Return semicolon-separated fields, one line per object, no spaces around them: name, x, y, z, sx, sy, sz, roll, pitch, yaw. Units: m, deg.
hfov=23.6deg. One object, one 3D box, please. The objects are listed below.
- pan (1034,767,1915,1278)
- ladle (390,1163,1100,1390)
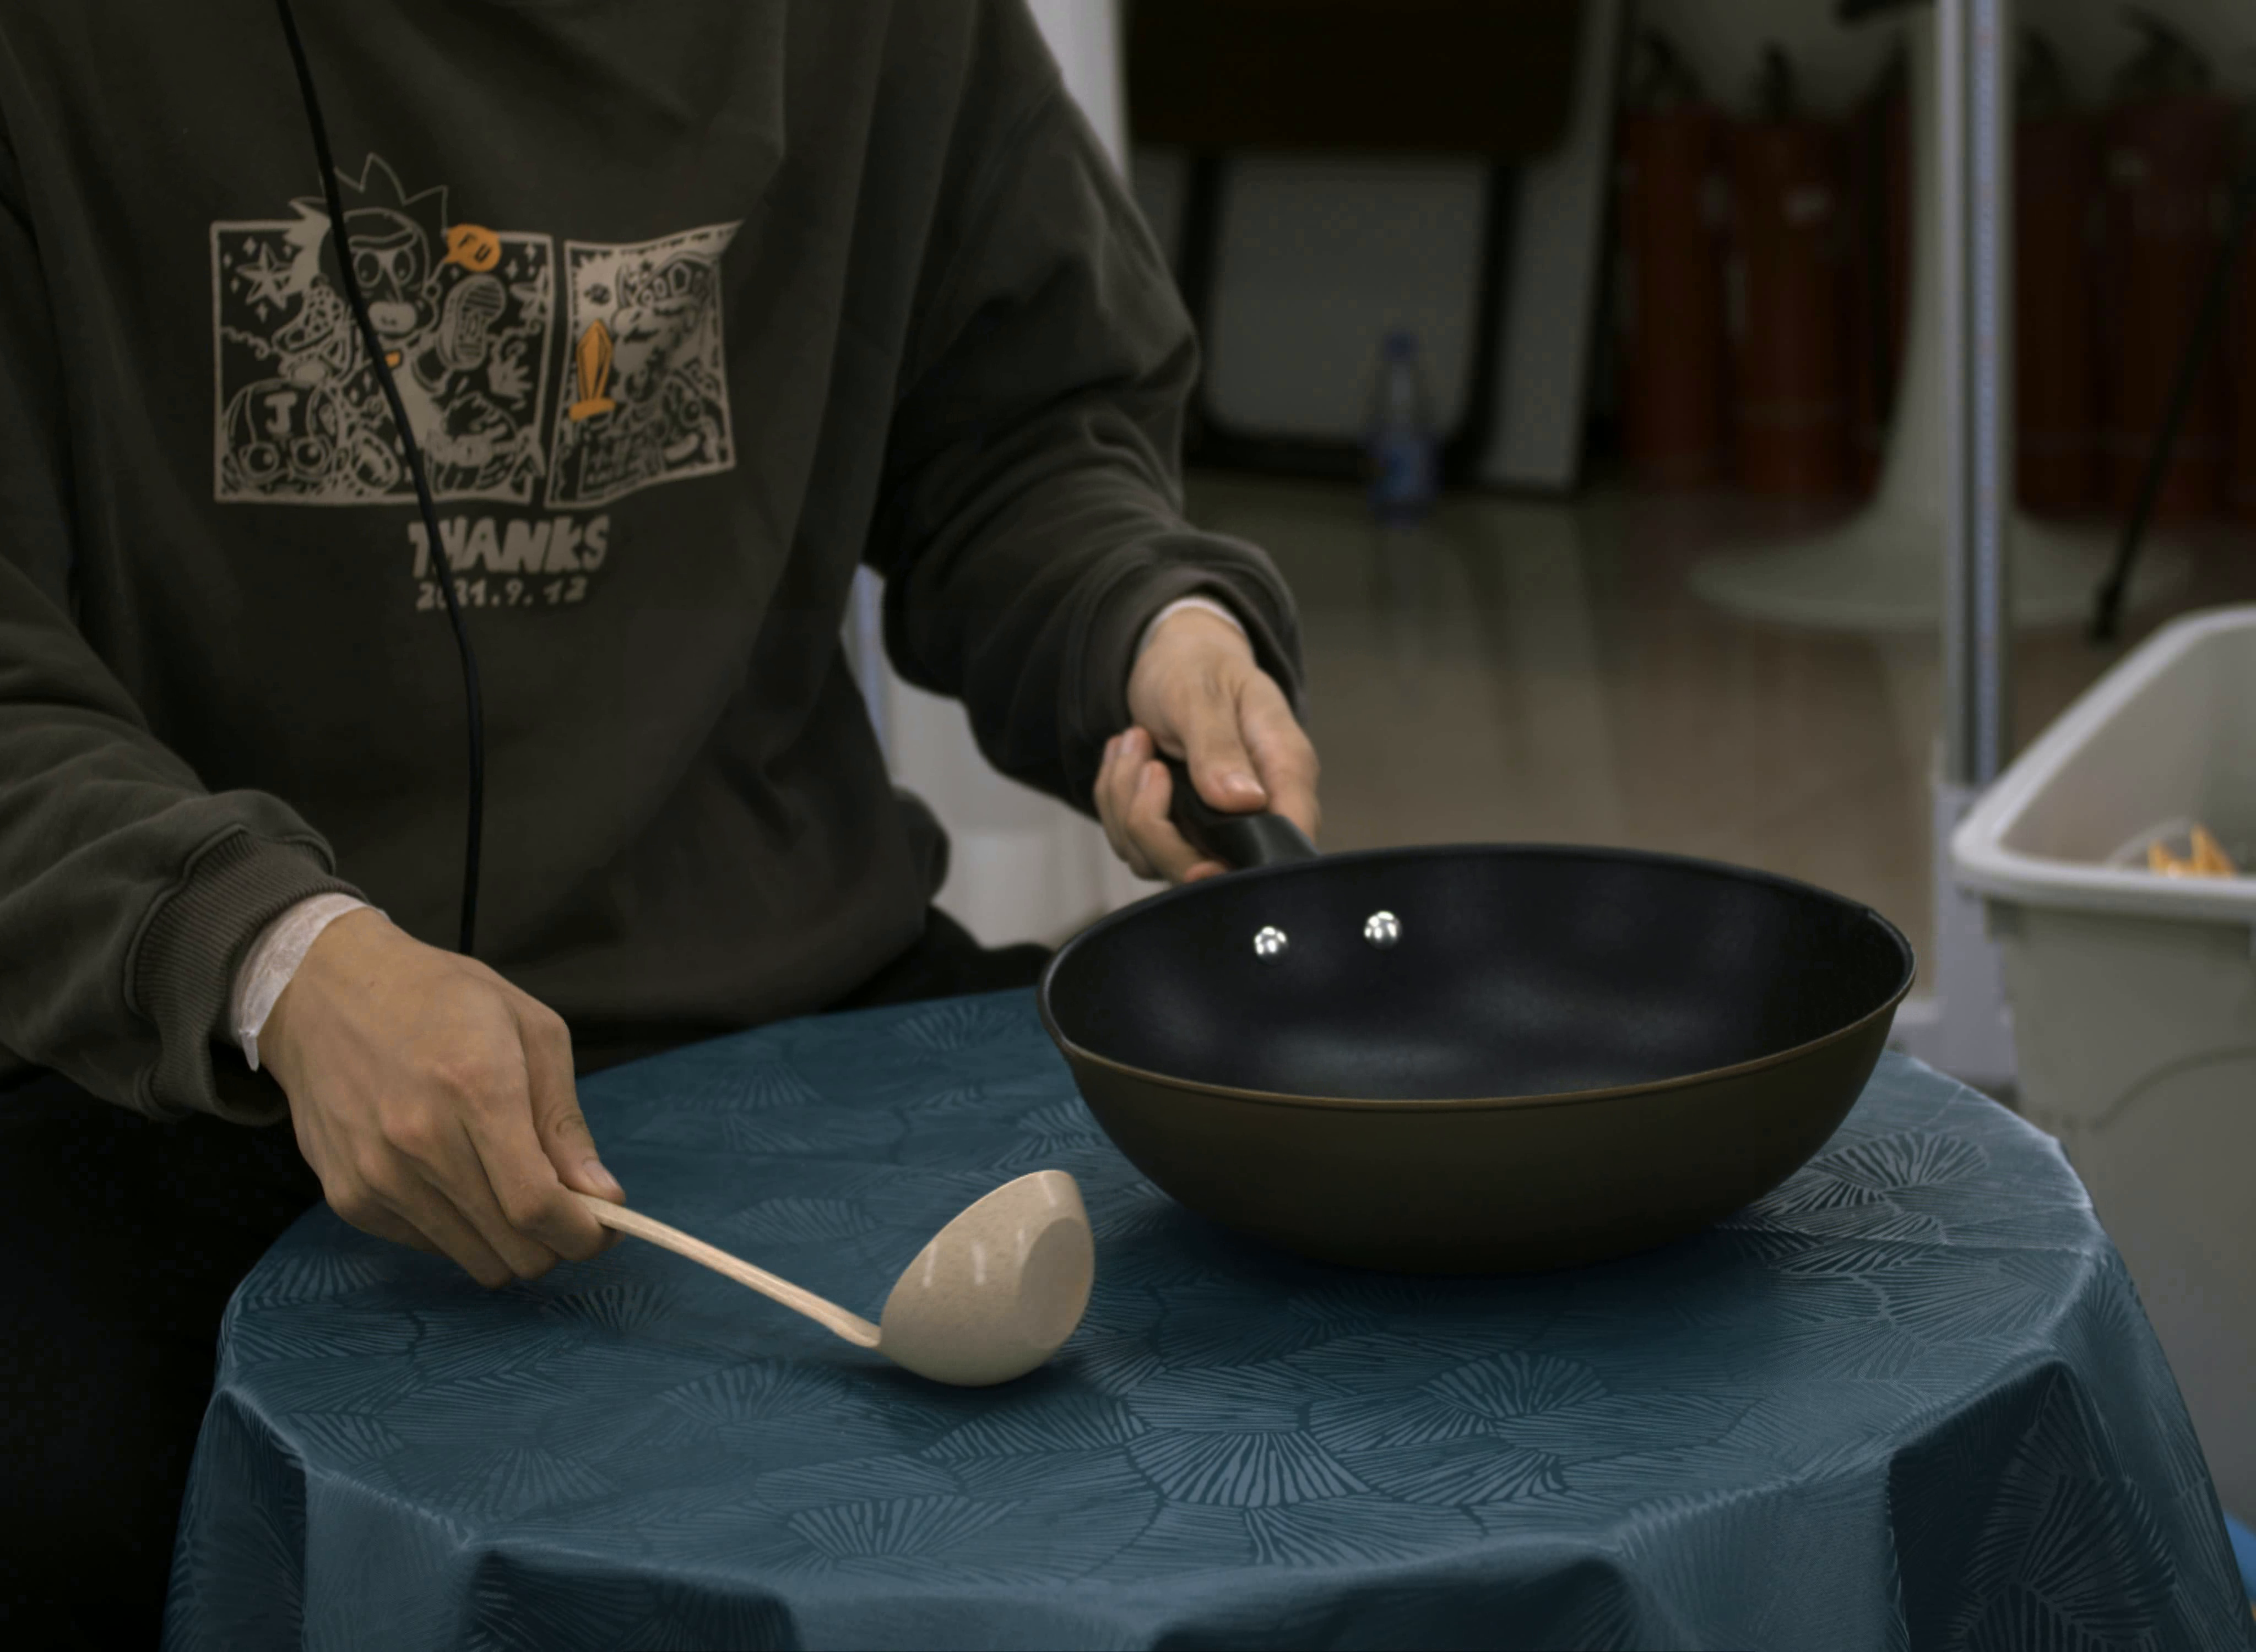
pan;0.081;0.063;1.806;0.282;0.088;0.467;-8;14;-18
ladle;-0.121;0.109;1.649;0.256;0.073;0.071;16;6;33
